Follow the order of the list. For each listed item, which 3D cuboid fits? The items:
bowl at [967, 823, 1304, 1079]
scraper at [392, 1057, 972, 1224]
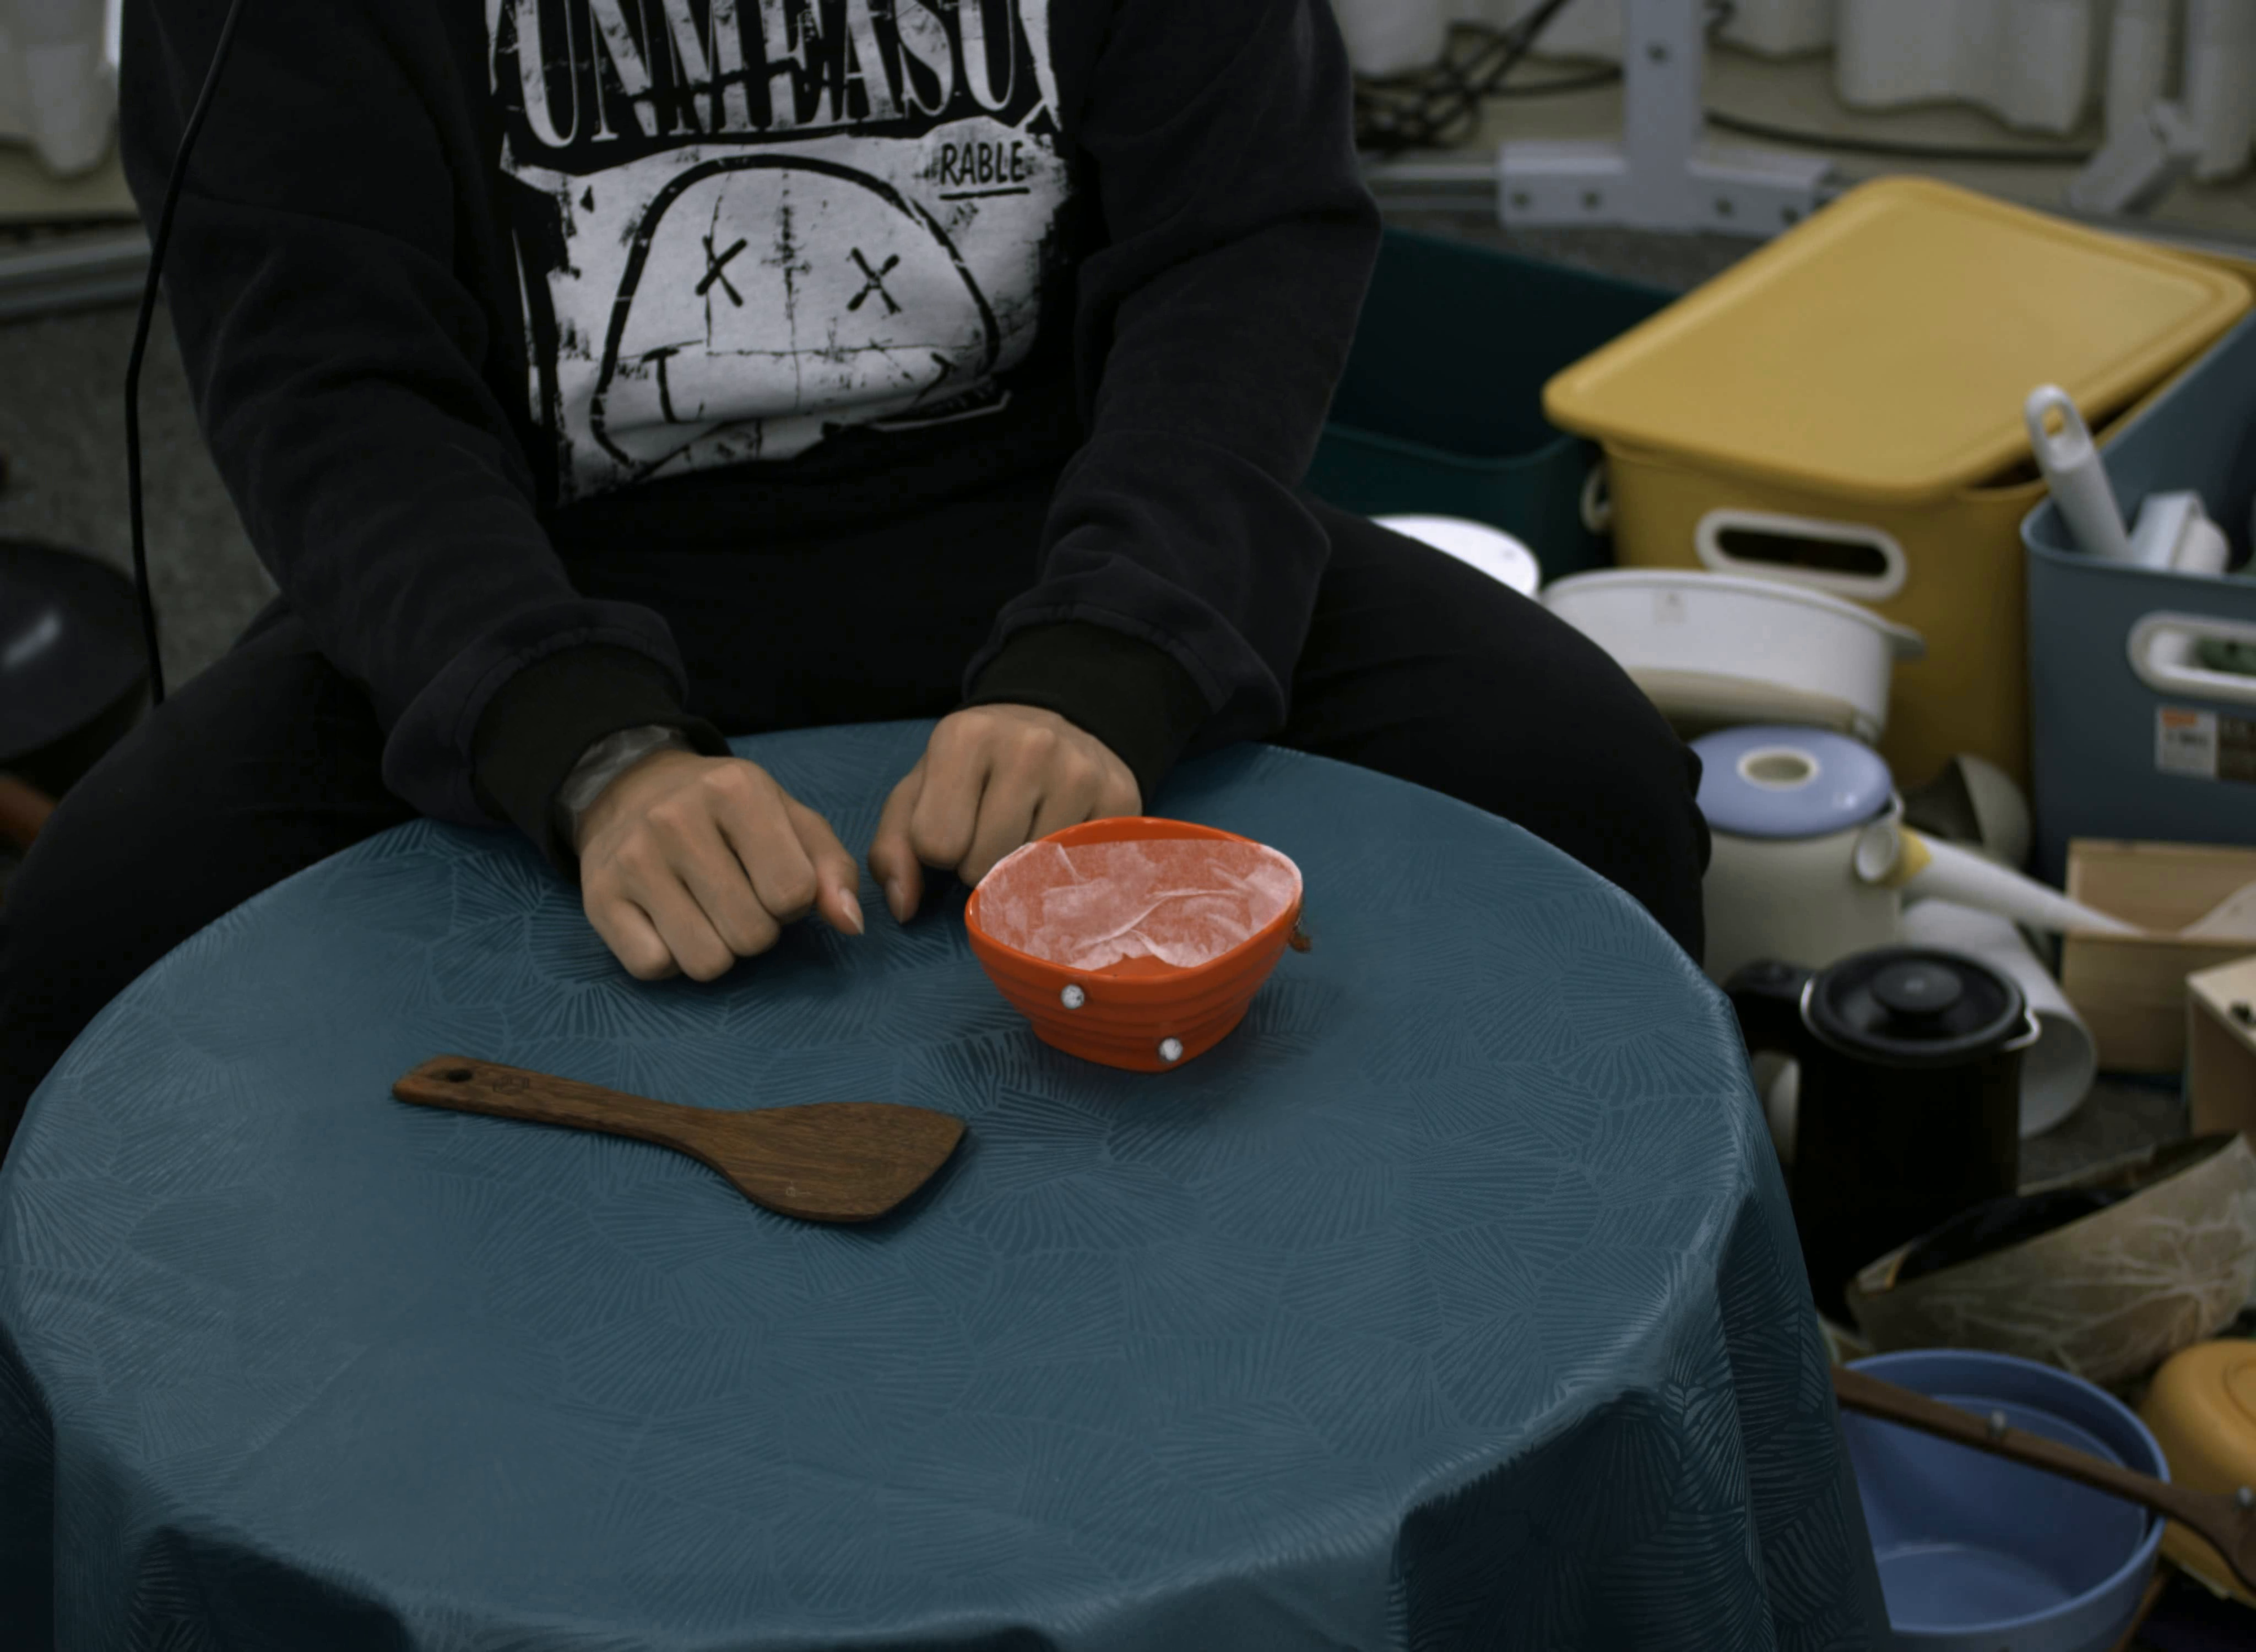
[{"bbox_3d":[0.004,0.048,1.954,0.118,0.051,0.121,-4,27,2],"label":"bowl"},{"bbox_3d":[-0.156,0.102,1.906,0.210,0.011,0.077,9,29,23],"label":"scraper"}]
